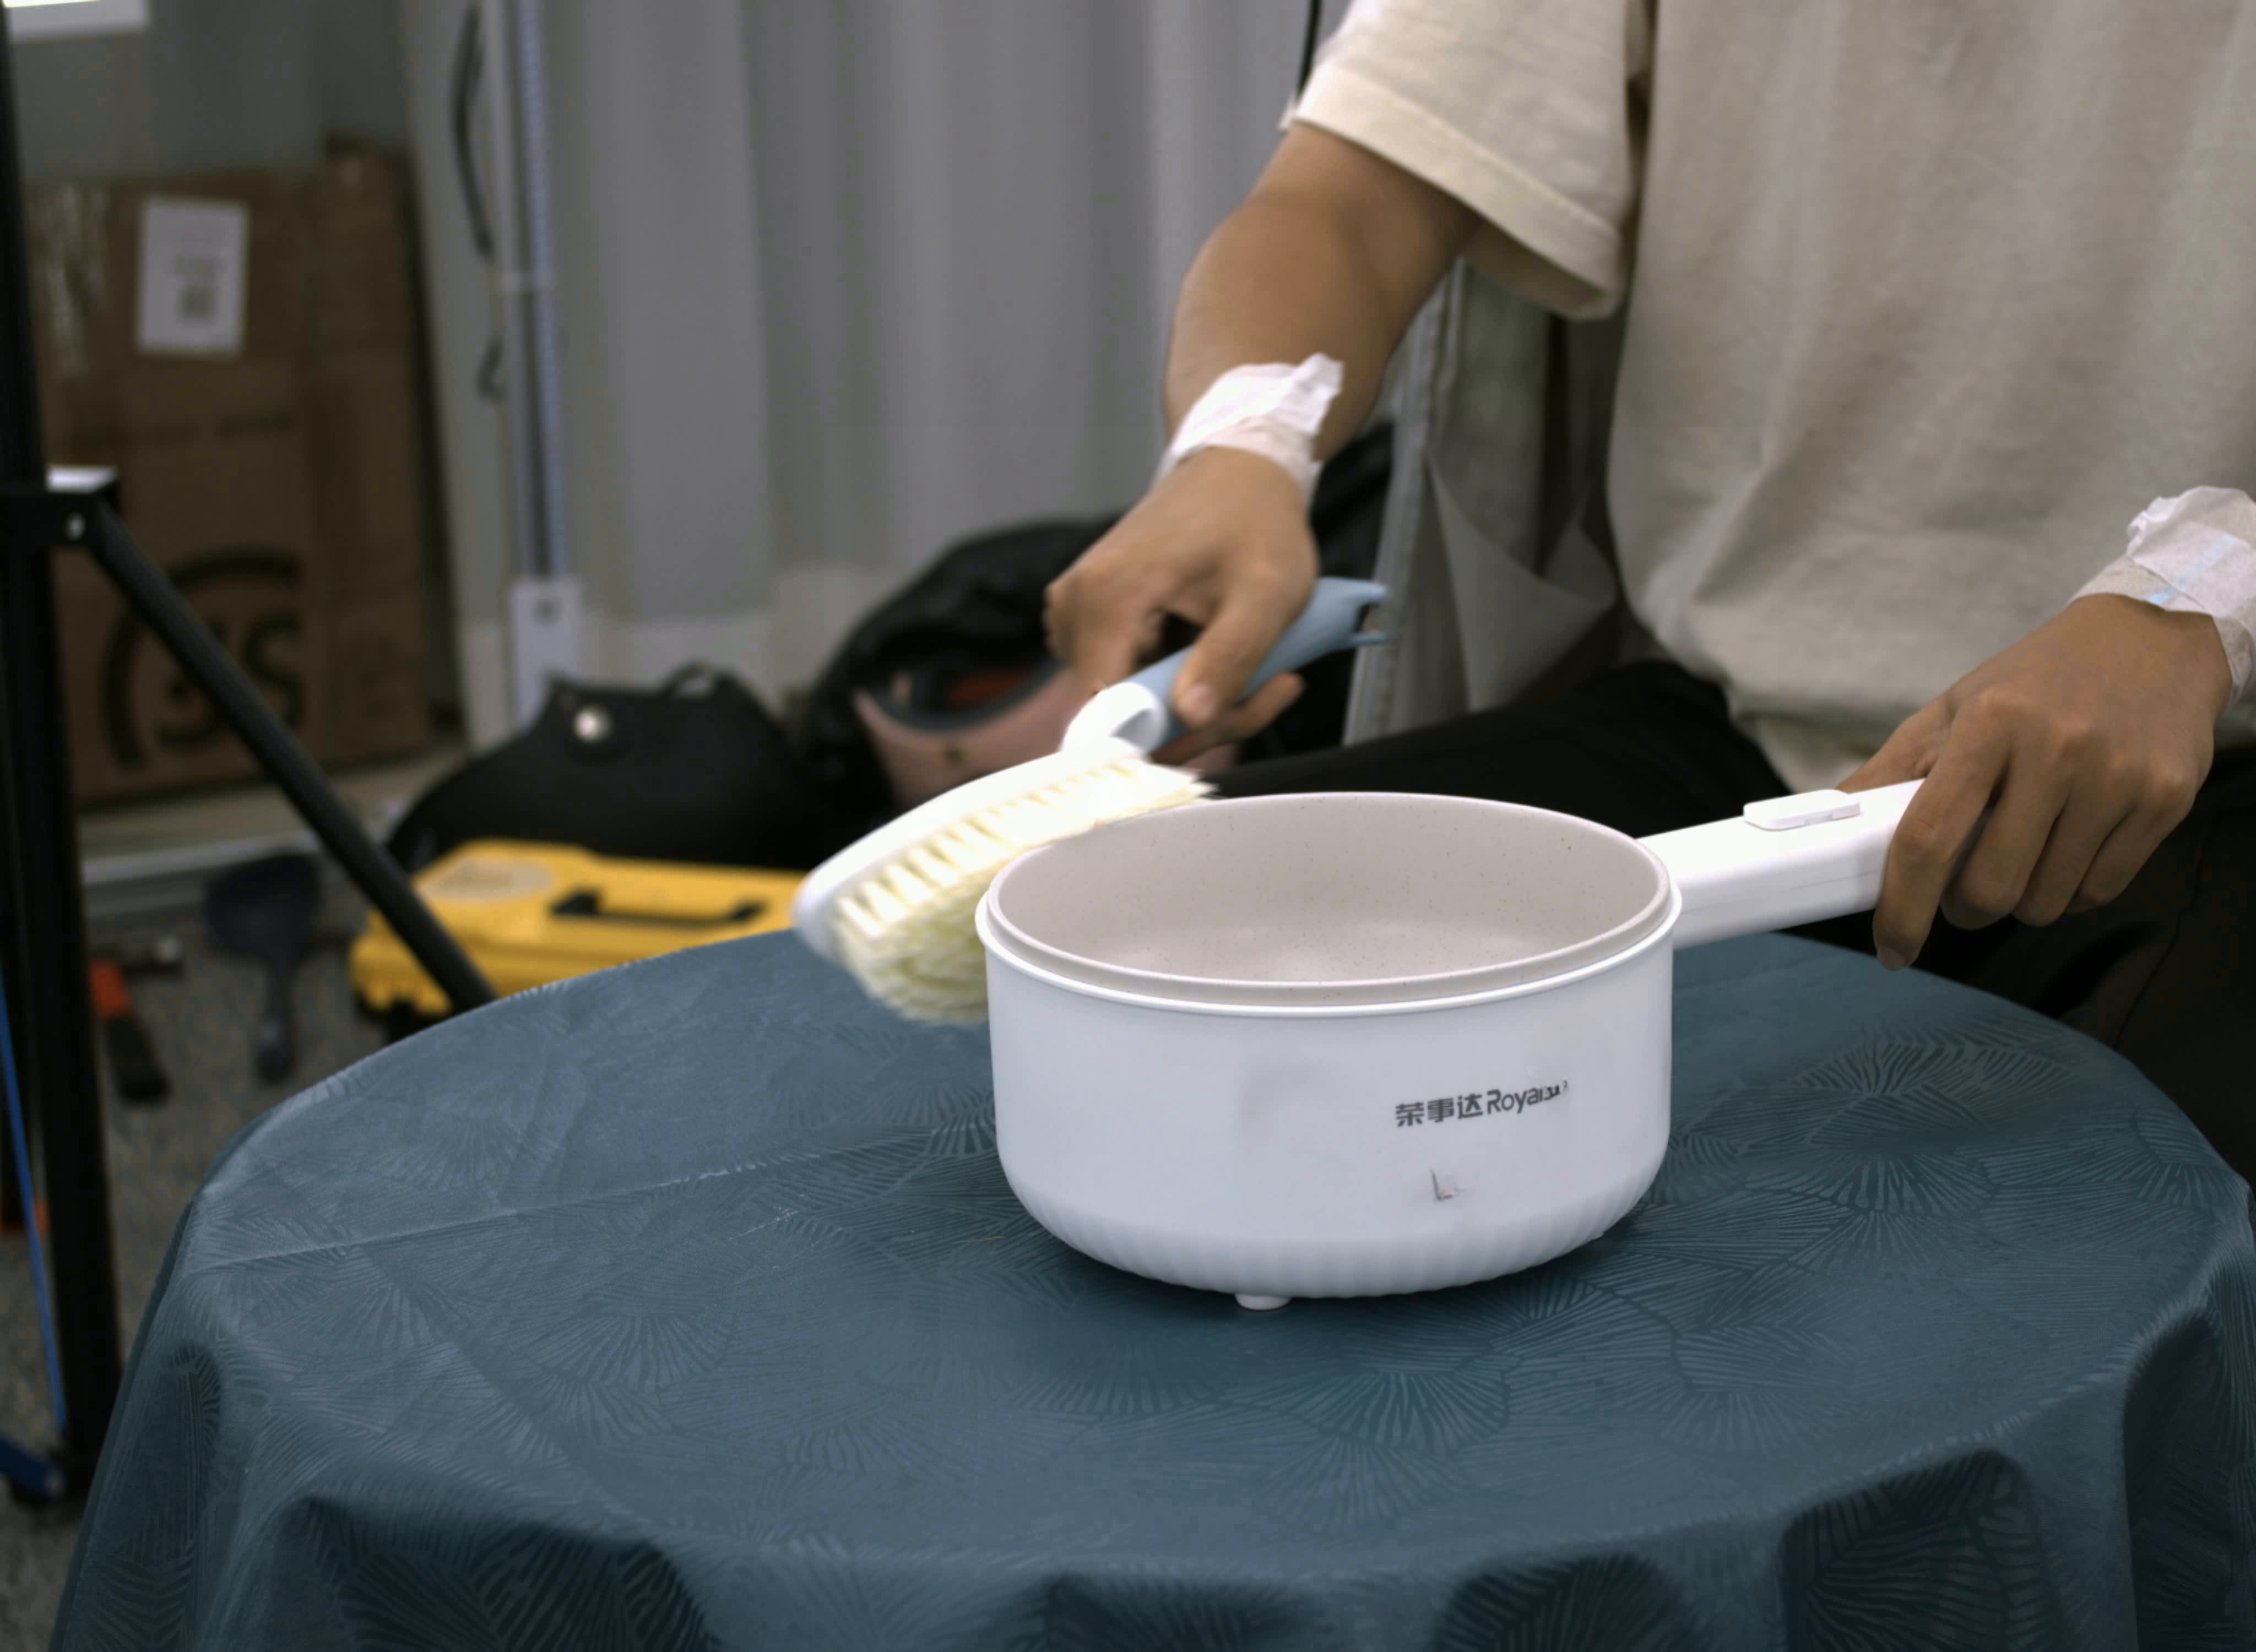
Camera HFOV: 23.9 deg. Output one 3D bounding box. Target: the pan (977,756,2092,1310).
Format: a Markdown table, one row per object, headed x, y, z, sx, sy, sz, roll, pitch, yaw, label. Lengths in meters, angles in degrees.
| x | y | z | sx | sy | sz | roll | pitch | yaw | label |
| --- | --- | --- | --- | --- | --- | --- | --- | --- | --- |
| 0.126 | 0.053 | 1.546 | 0.347 | 0.102 | 0.205 | -9 | 16 | -24 | pan |

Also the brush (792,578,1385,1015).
| x | y | z | sx | sy | sz | roll | pitch | yaw | label |
| --- | --- | --- | --- | --- | --- | --- | --- | --- | --- |
| 0.019 | -0.016 | 1.660 | 0.084 | 0.085 | 0.319 | -37 | -5 | 39 | brush |
